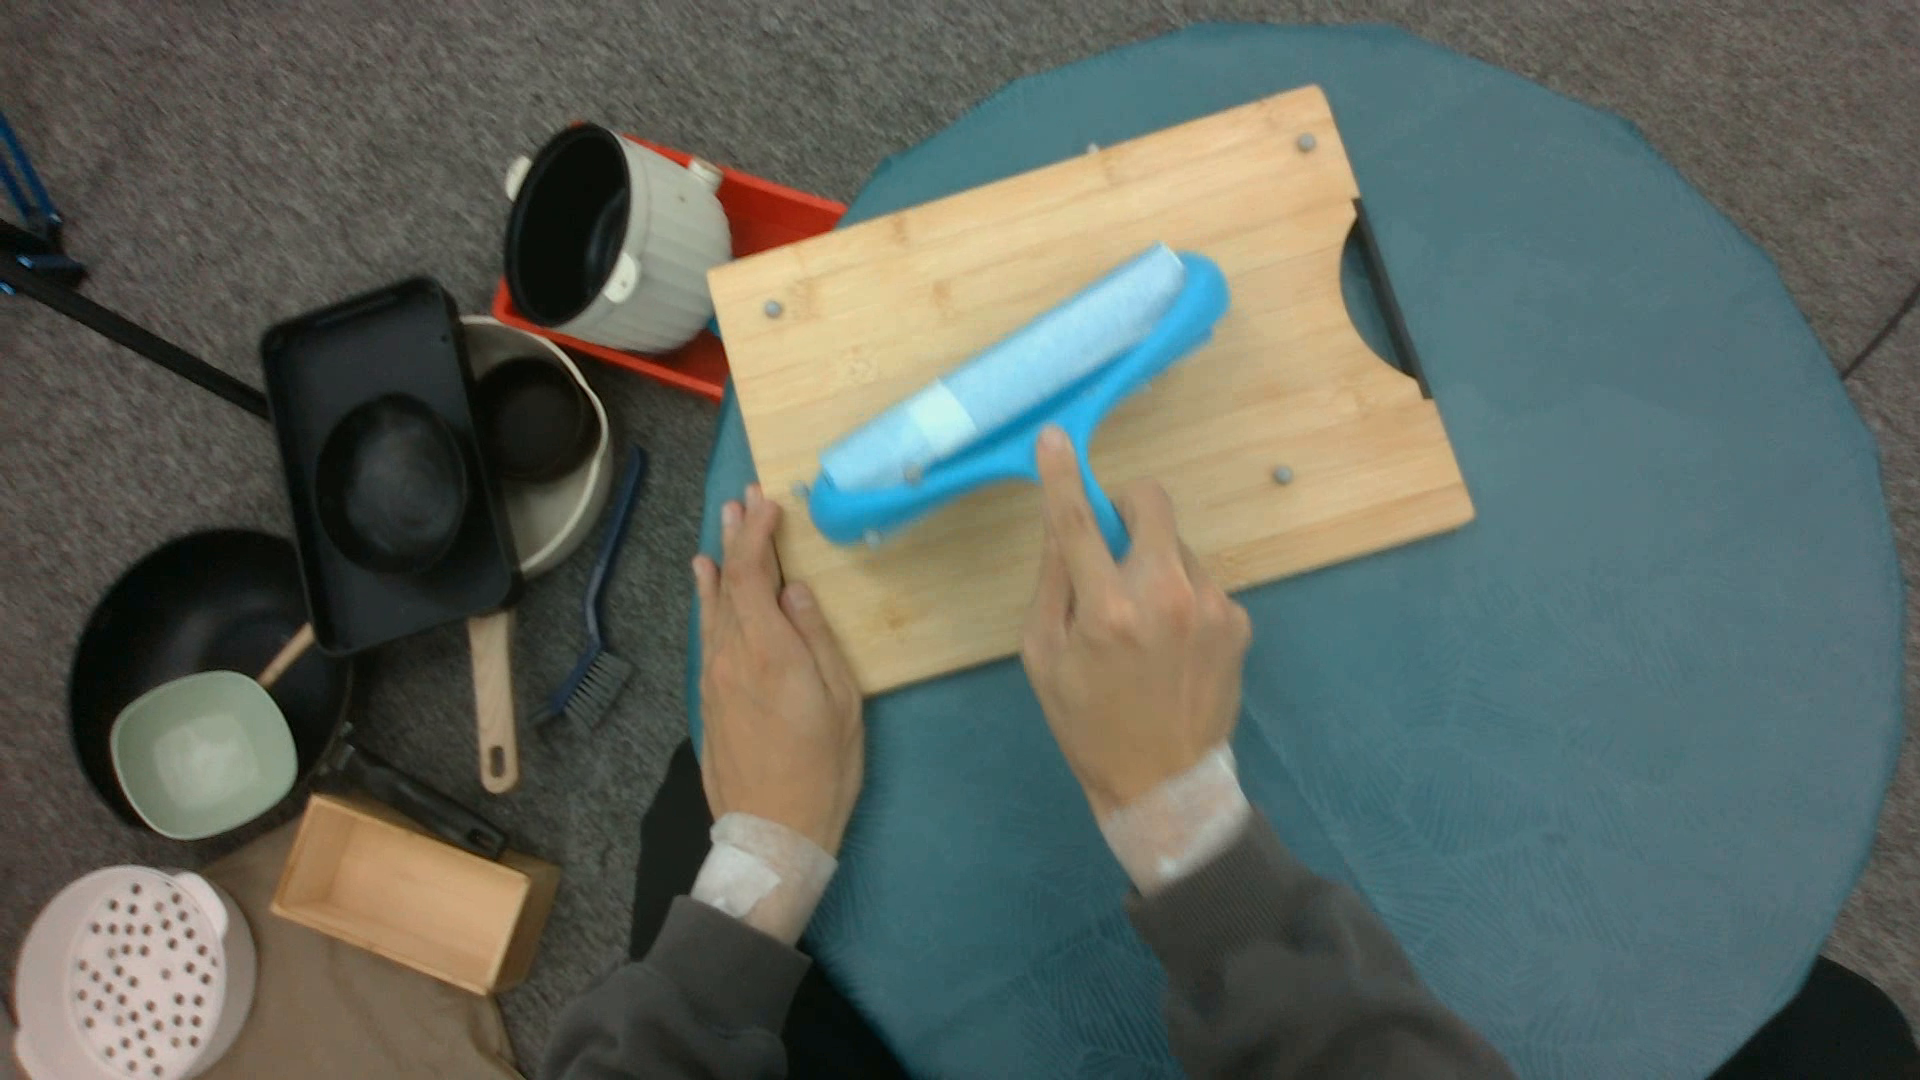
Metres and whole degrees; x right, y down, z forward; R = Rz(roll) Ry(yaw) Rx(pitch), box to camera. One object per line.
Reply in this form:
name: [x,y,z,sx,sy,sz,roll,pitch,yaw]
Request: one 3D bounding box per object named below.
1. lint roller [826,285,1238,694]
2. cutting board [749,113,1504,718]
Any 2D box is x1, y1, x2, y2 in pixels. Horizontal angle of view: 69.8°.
lint roller: [0.061,-0.012,0.635,0.229,0.068,0.180,-34,52,-1]
cutting board: [0.075,-0.068,0.729,0.348,0.023,0.251,-17,77,3]
